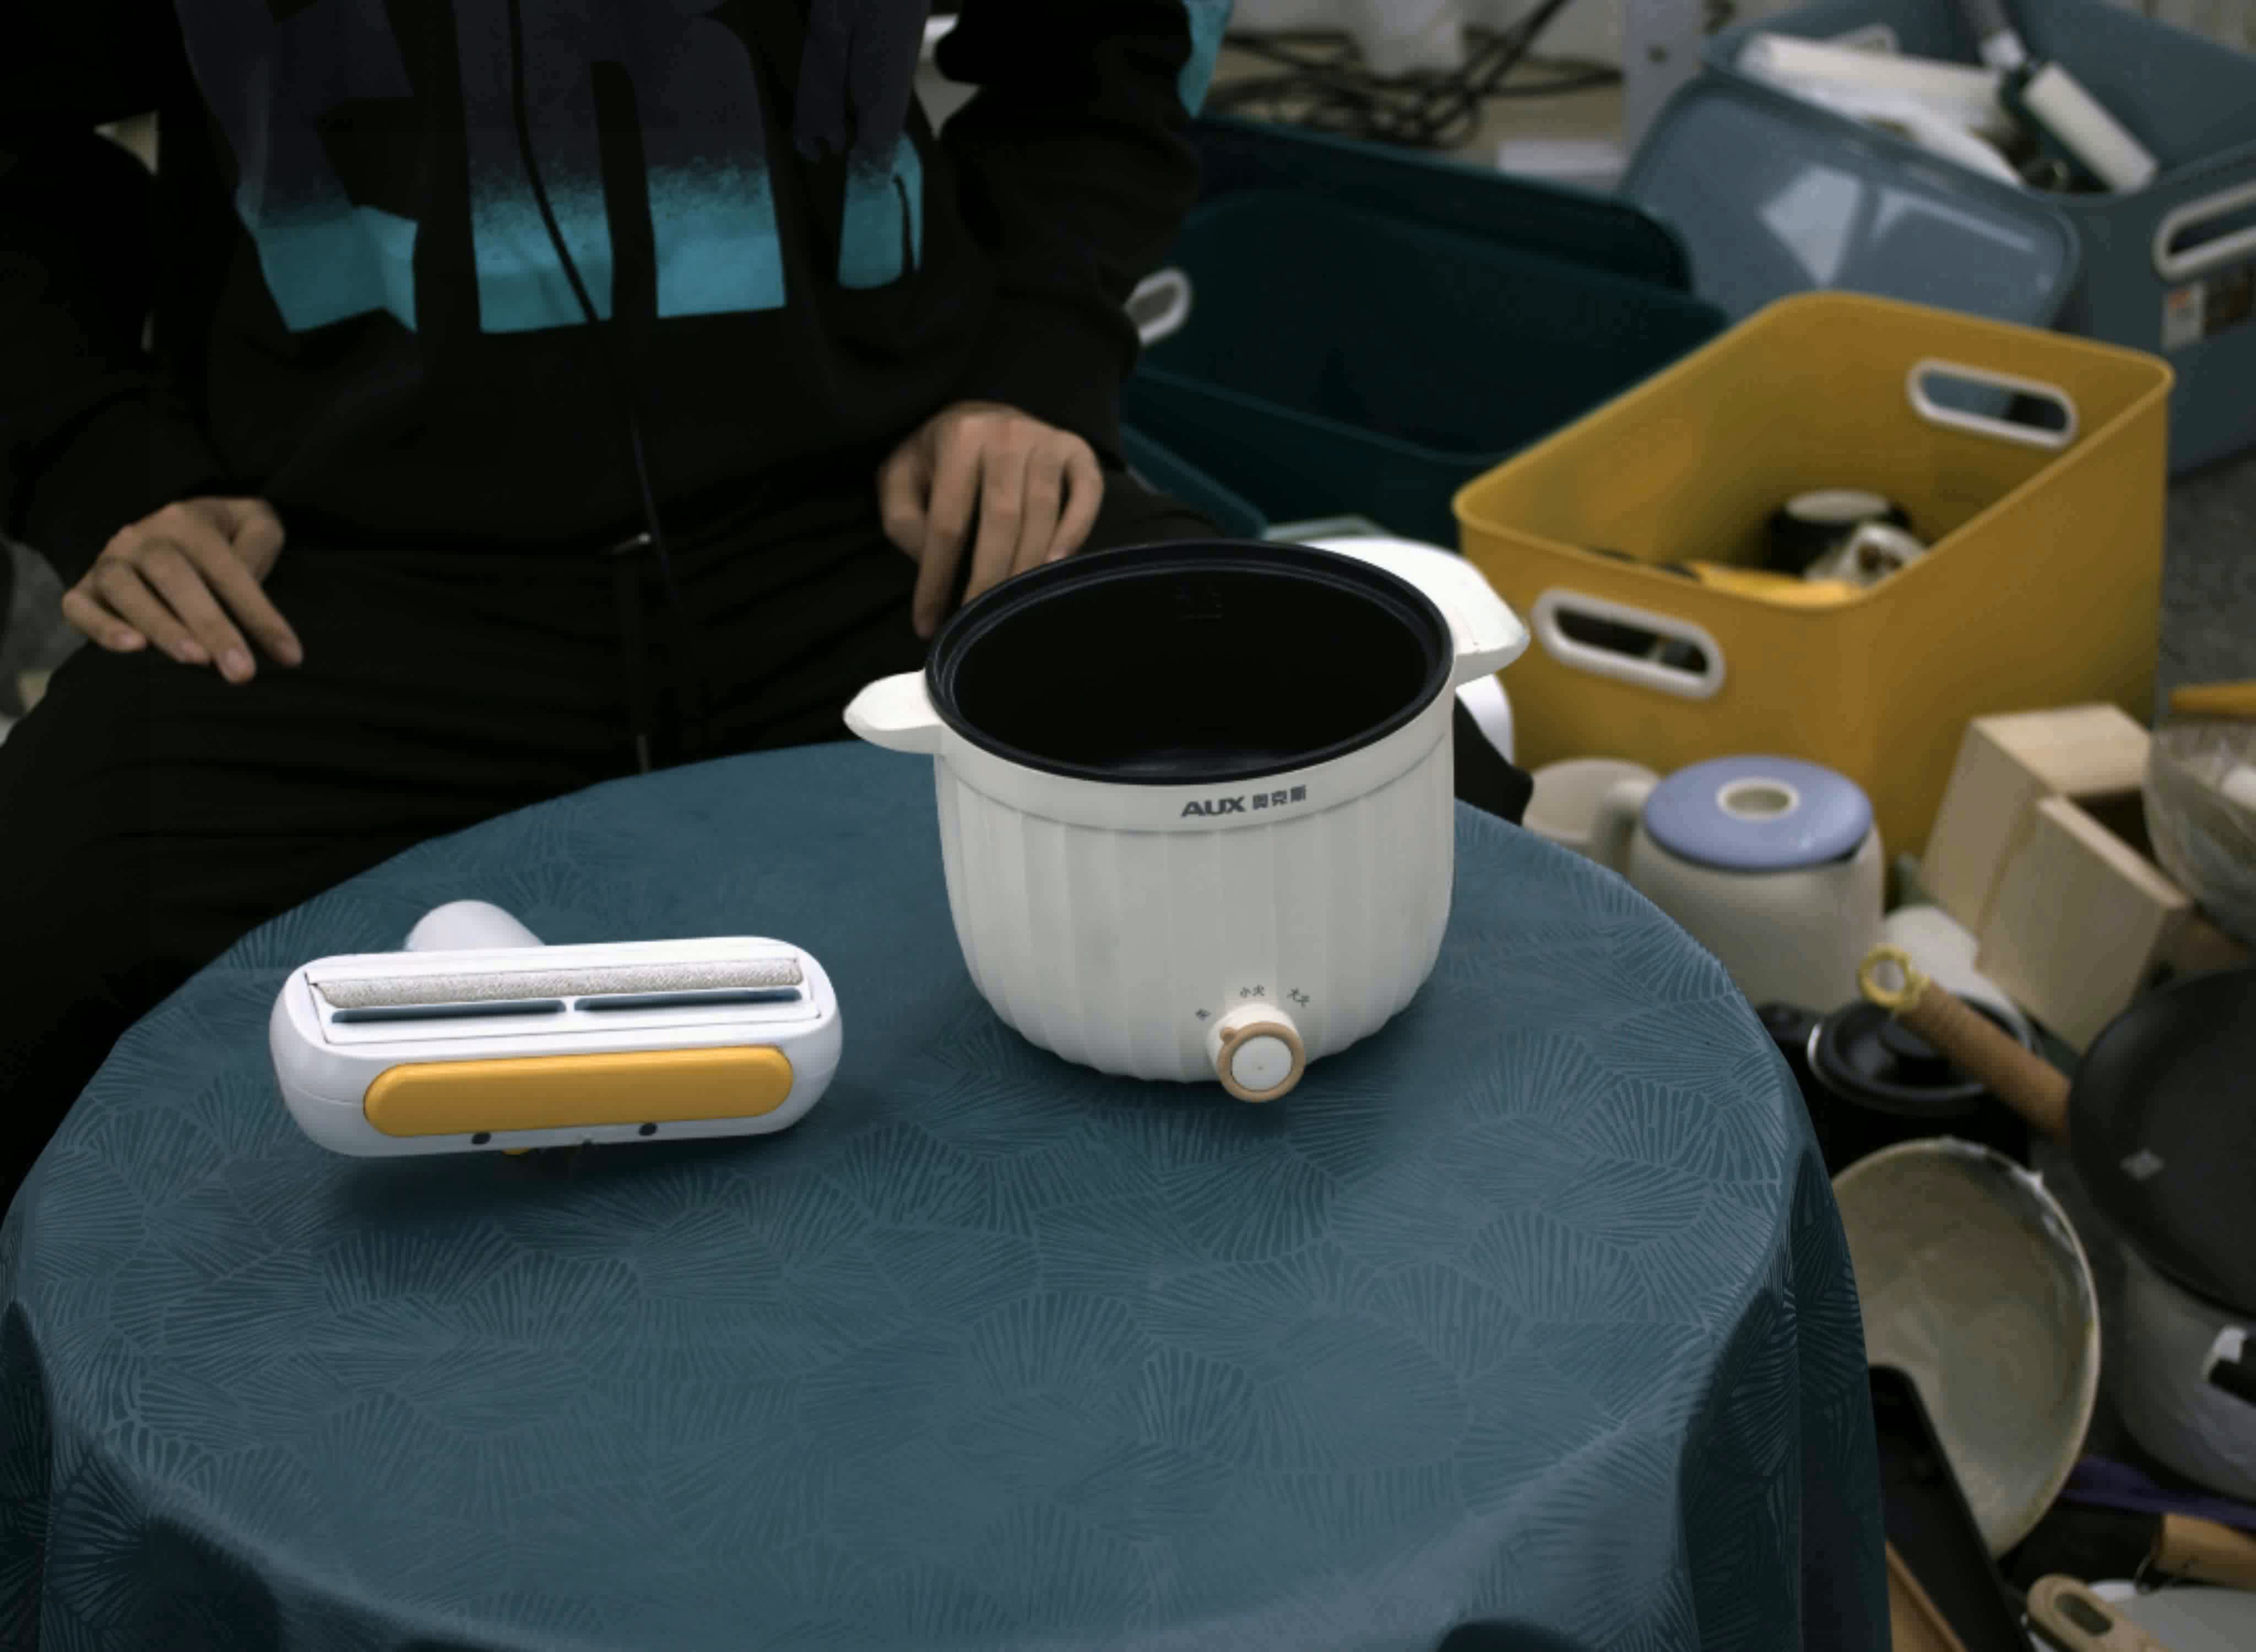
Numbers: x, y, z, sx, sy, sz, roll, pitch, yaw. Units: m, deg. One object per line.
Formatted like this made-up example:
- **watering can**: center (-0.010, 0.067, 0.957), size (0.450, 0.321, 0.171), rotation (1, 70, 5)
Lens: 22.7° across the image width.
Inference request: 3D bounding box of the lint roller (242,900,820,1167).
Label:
- **lint roller**: center (-0.214, 0.057, 1.933), size (0.193, 0.073, 0.194), rotation (-4, 25, -15)

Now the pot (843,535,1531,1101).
- **pot**: center (0.026, 0.001, 1.939), size (0.240, 0.141, 0.192), rotation (-9, 25, -9)
